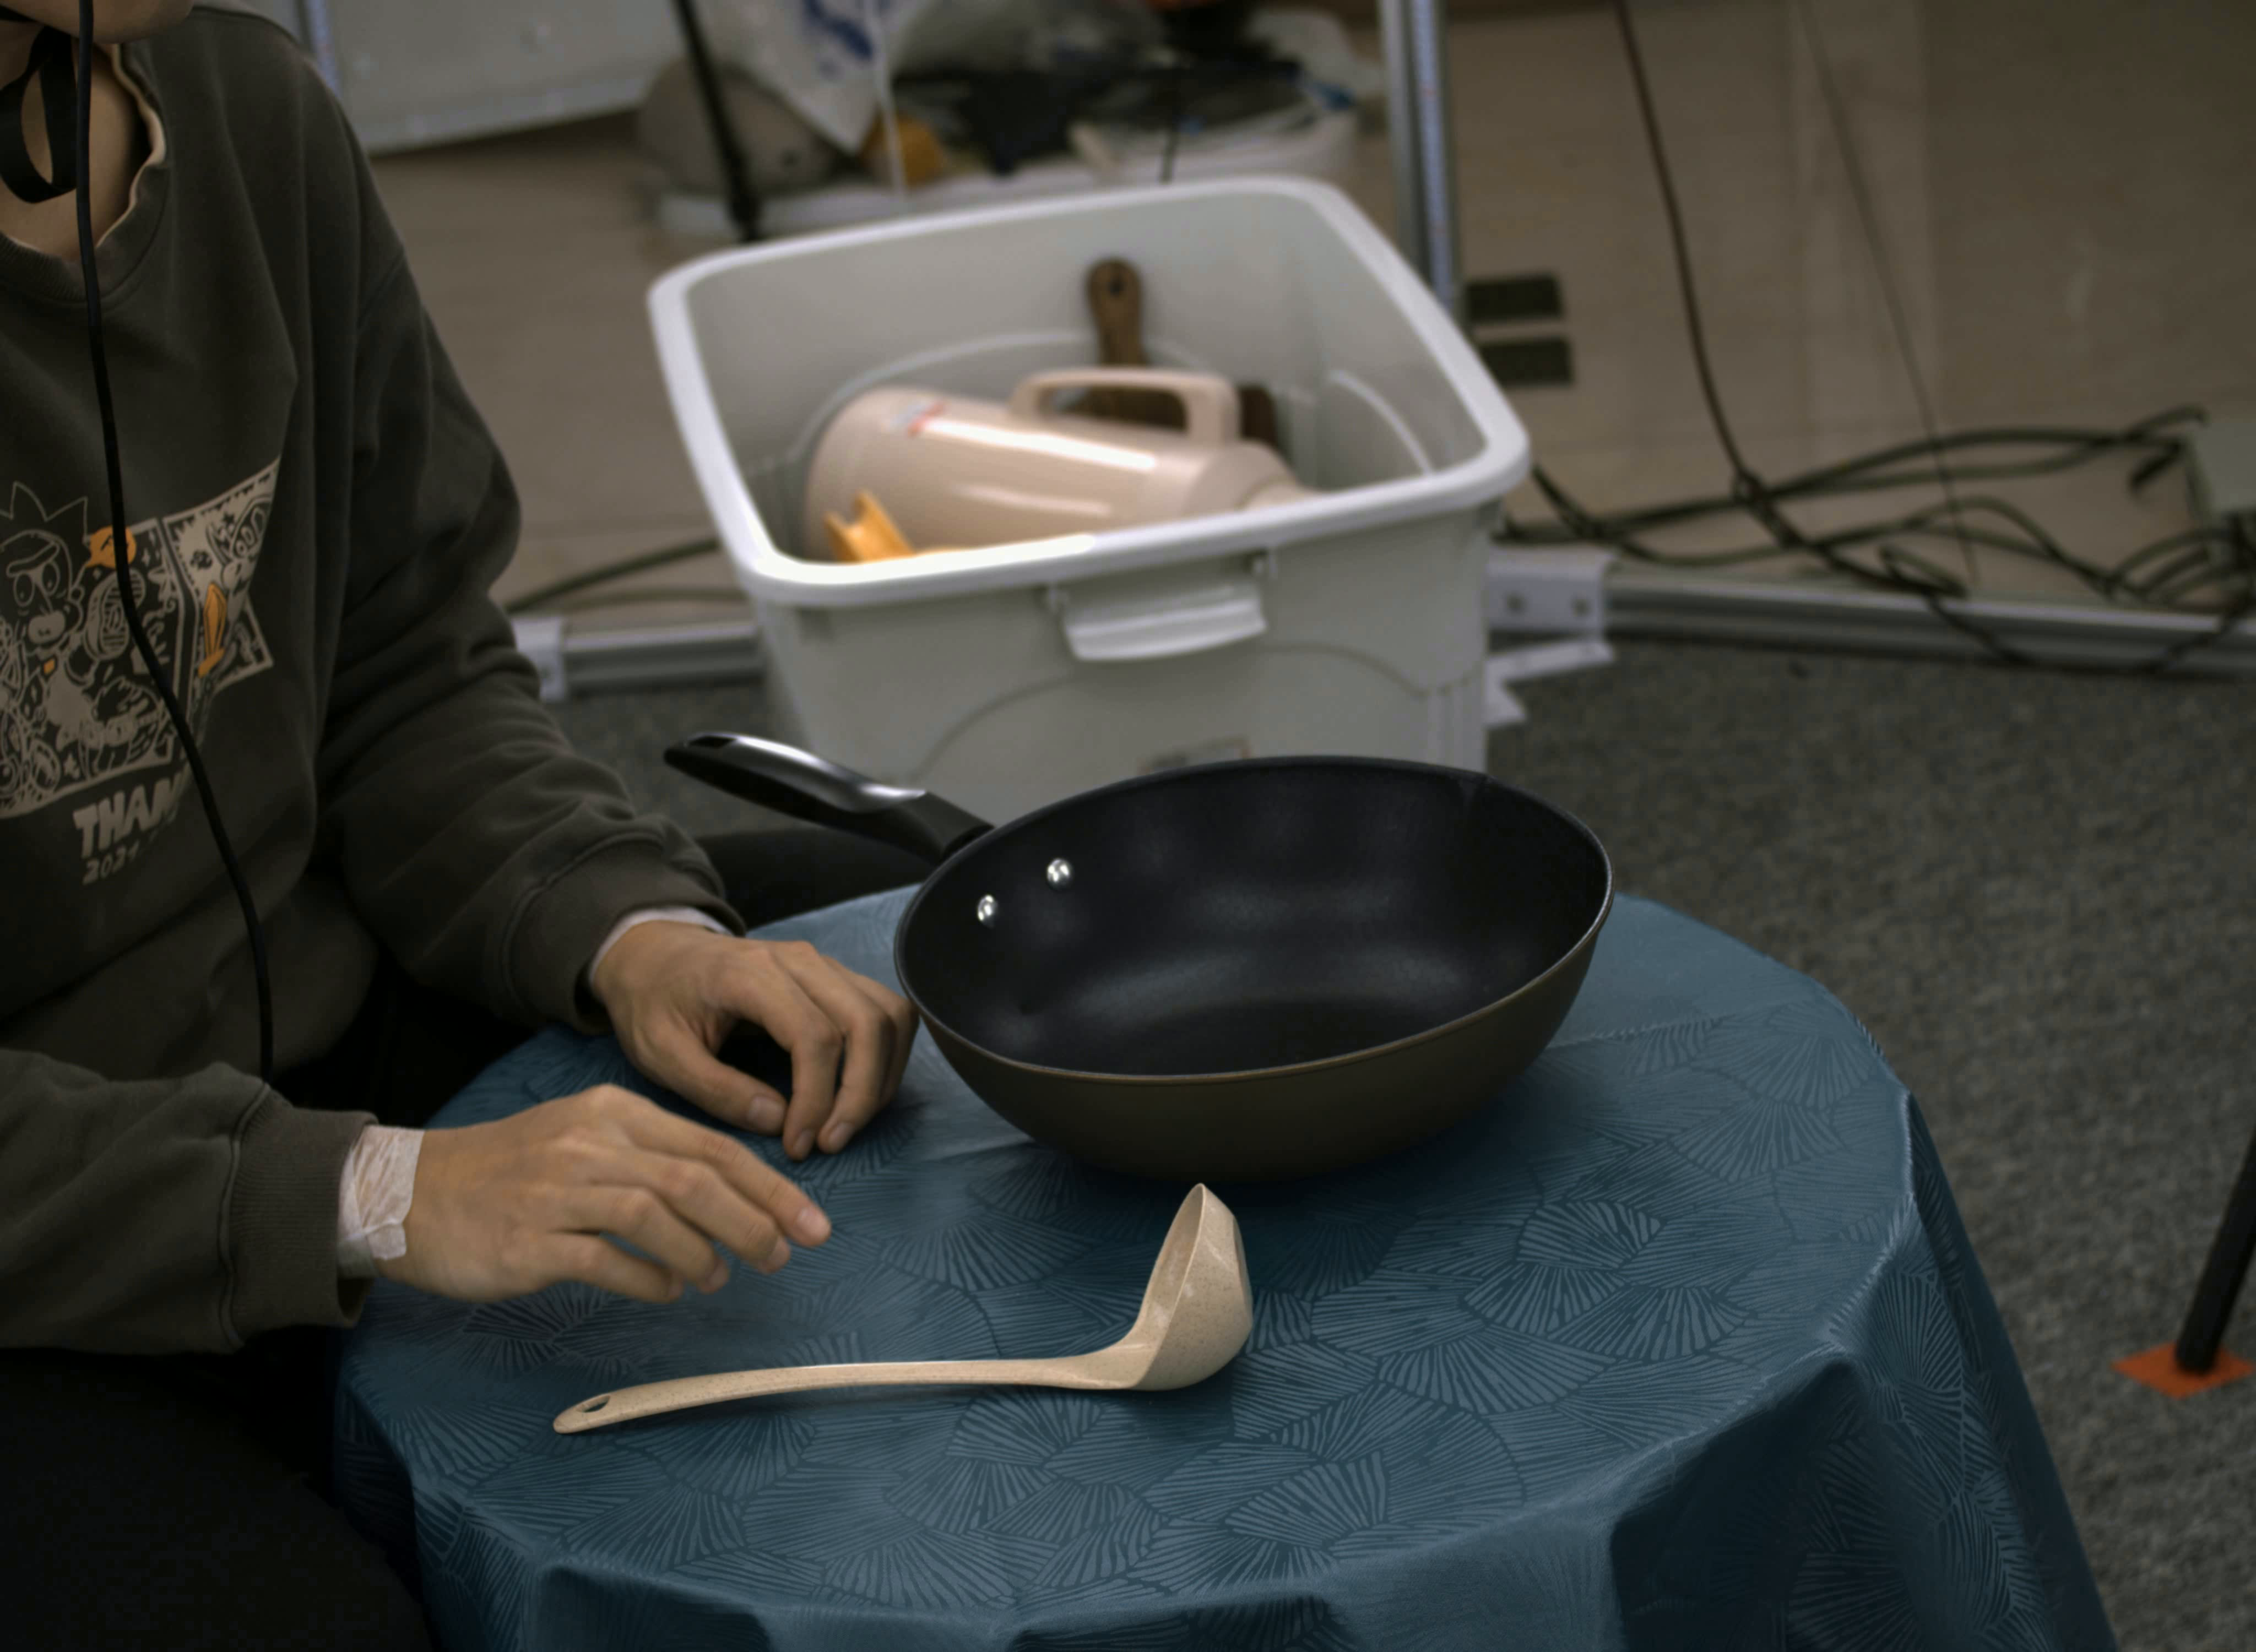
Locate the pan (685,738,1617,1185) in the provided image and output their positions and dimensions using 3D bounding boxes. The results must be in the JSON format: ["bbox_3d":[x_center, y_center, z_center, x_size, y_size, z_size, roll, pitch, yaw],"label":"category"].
[{"bbox_3d":[-0.015,0.047,2.248,0.460,0.088,0.285,15,33,41],"label":"pan"}]

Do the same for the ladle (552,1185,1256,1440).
[{"bbox_3d":[-0.082,0.173,2.007,0.254,0.074,0.071,-5,31,1],"label":"ladle"}]
